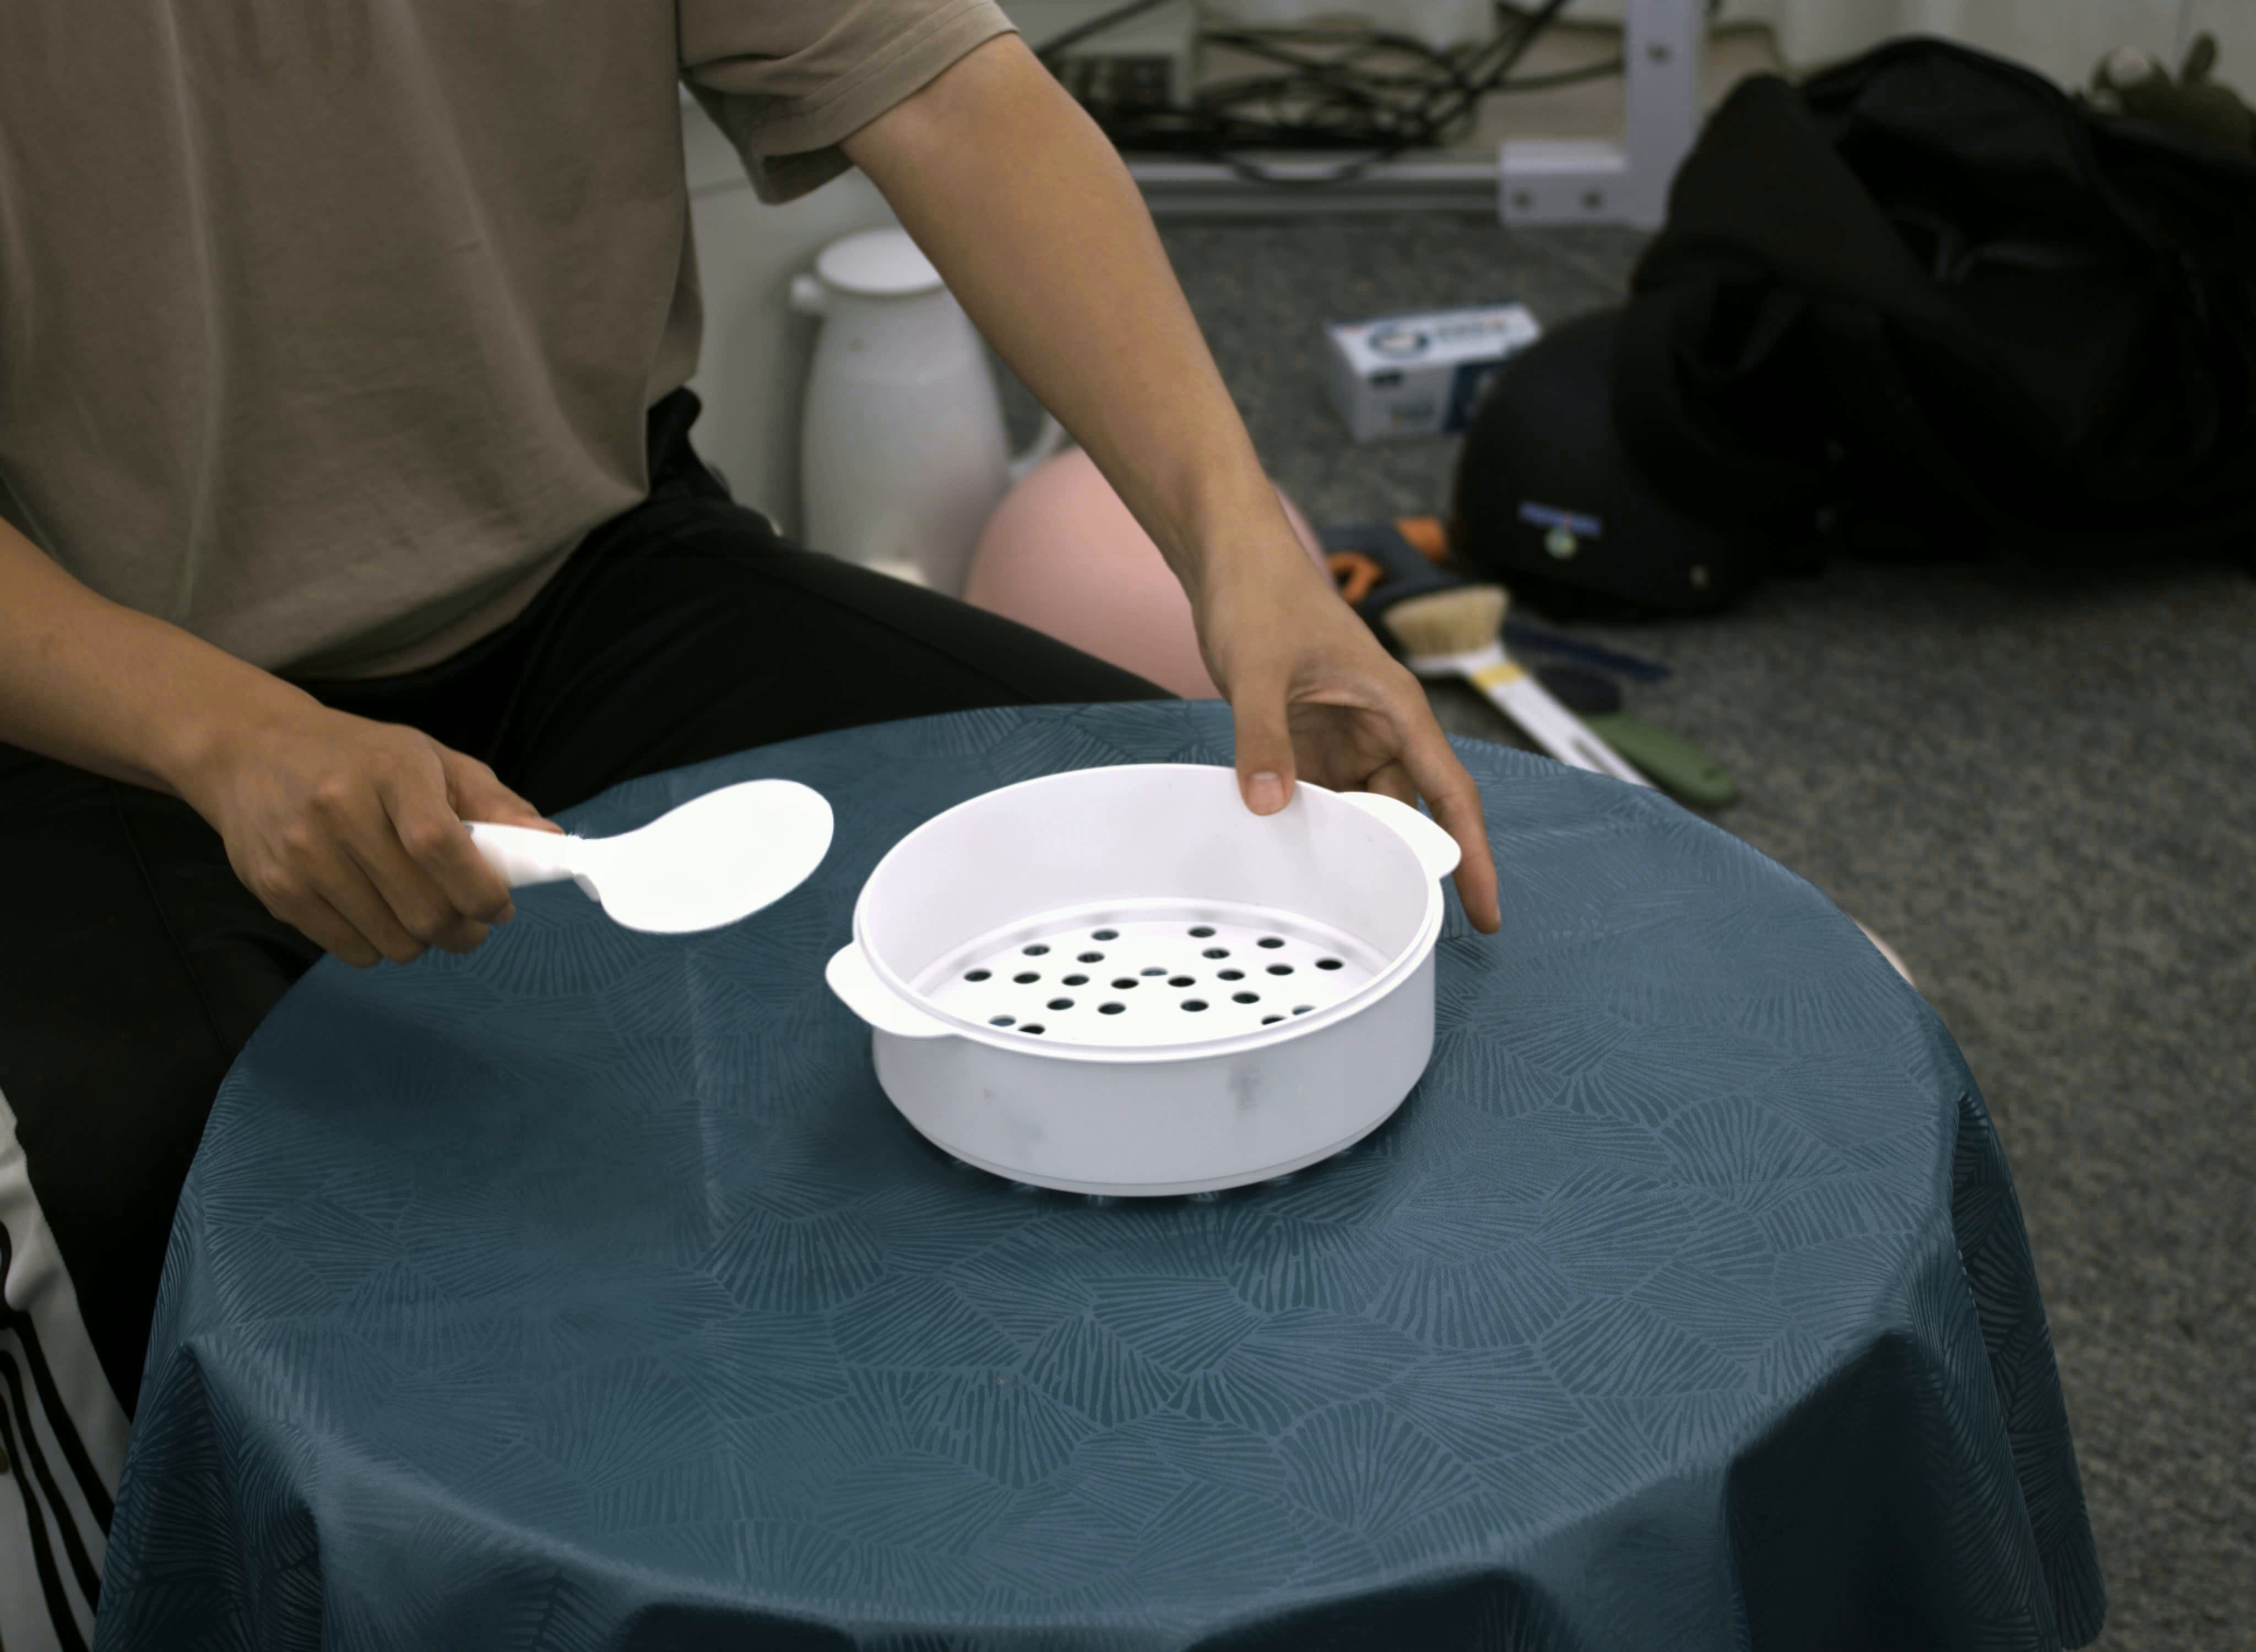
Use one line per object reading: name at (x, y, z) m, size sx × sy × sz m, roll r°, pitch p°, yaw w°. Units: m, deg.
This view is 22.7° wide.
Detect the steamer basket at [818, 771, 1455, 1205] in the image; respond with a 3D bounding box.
steamer basket at (0.004, 0.056, 1.917) m, size 0.232 × 0.068 × 0.203 m, roll -15°, pitch 31°, yaw -26°

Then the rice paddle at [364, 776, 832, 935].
rice paddle at (-0.173, 0.011, 1.838) m, size 0.203 × 0.029 × 0.070 m, roll -3°, pitch 44°, yaw 42°
